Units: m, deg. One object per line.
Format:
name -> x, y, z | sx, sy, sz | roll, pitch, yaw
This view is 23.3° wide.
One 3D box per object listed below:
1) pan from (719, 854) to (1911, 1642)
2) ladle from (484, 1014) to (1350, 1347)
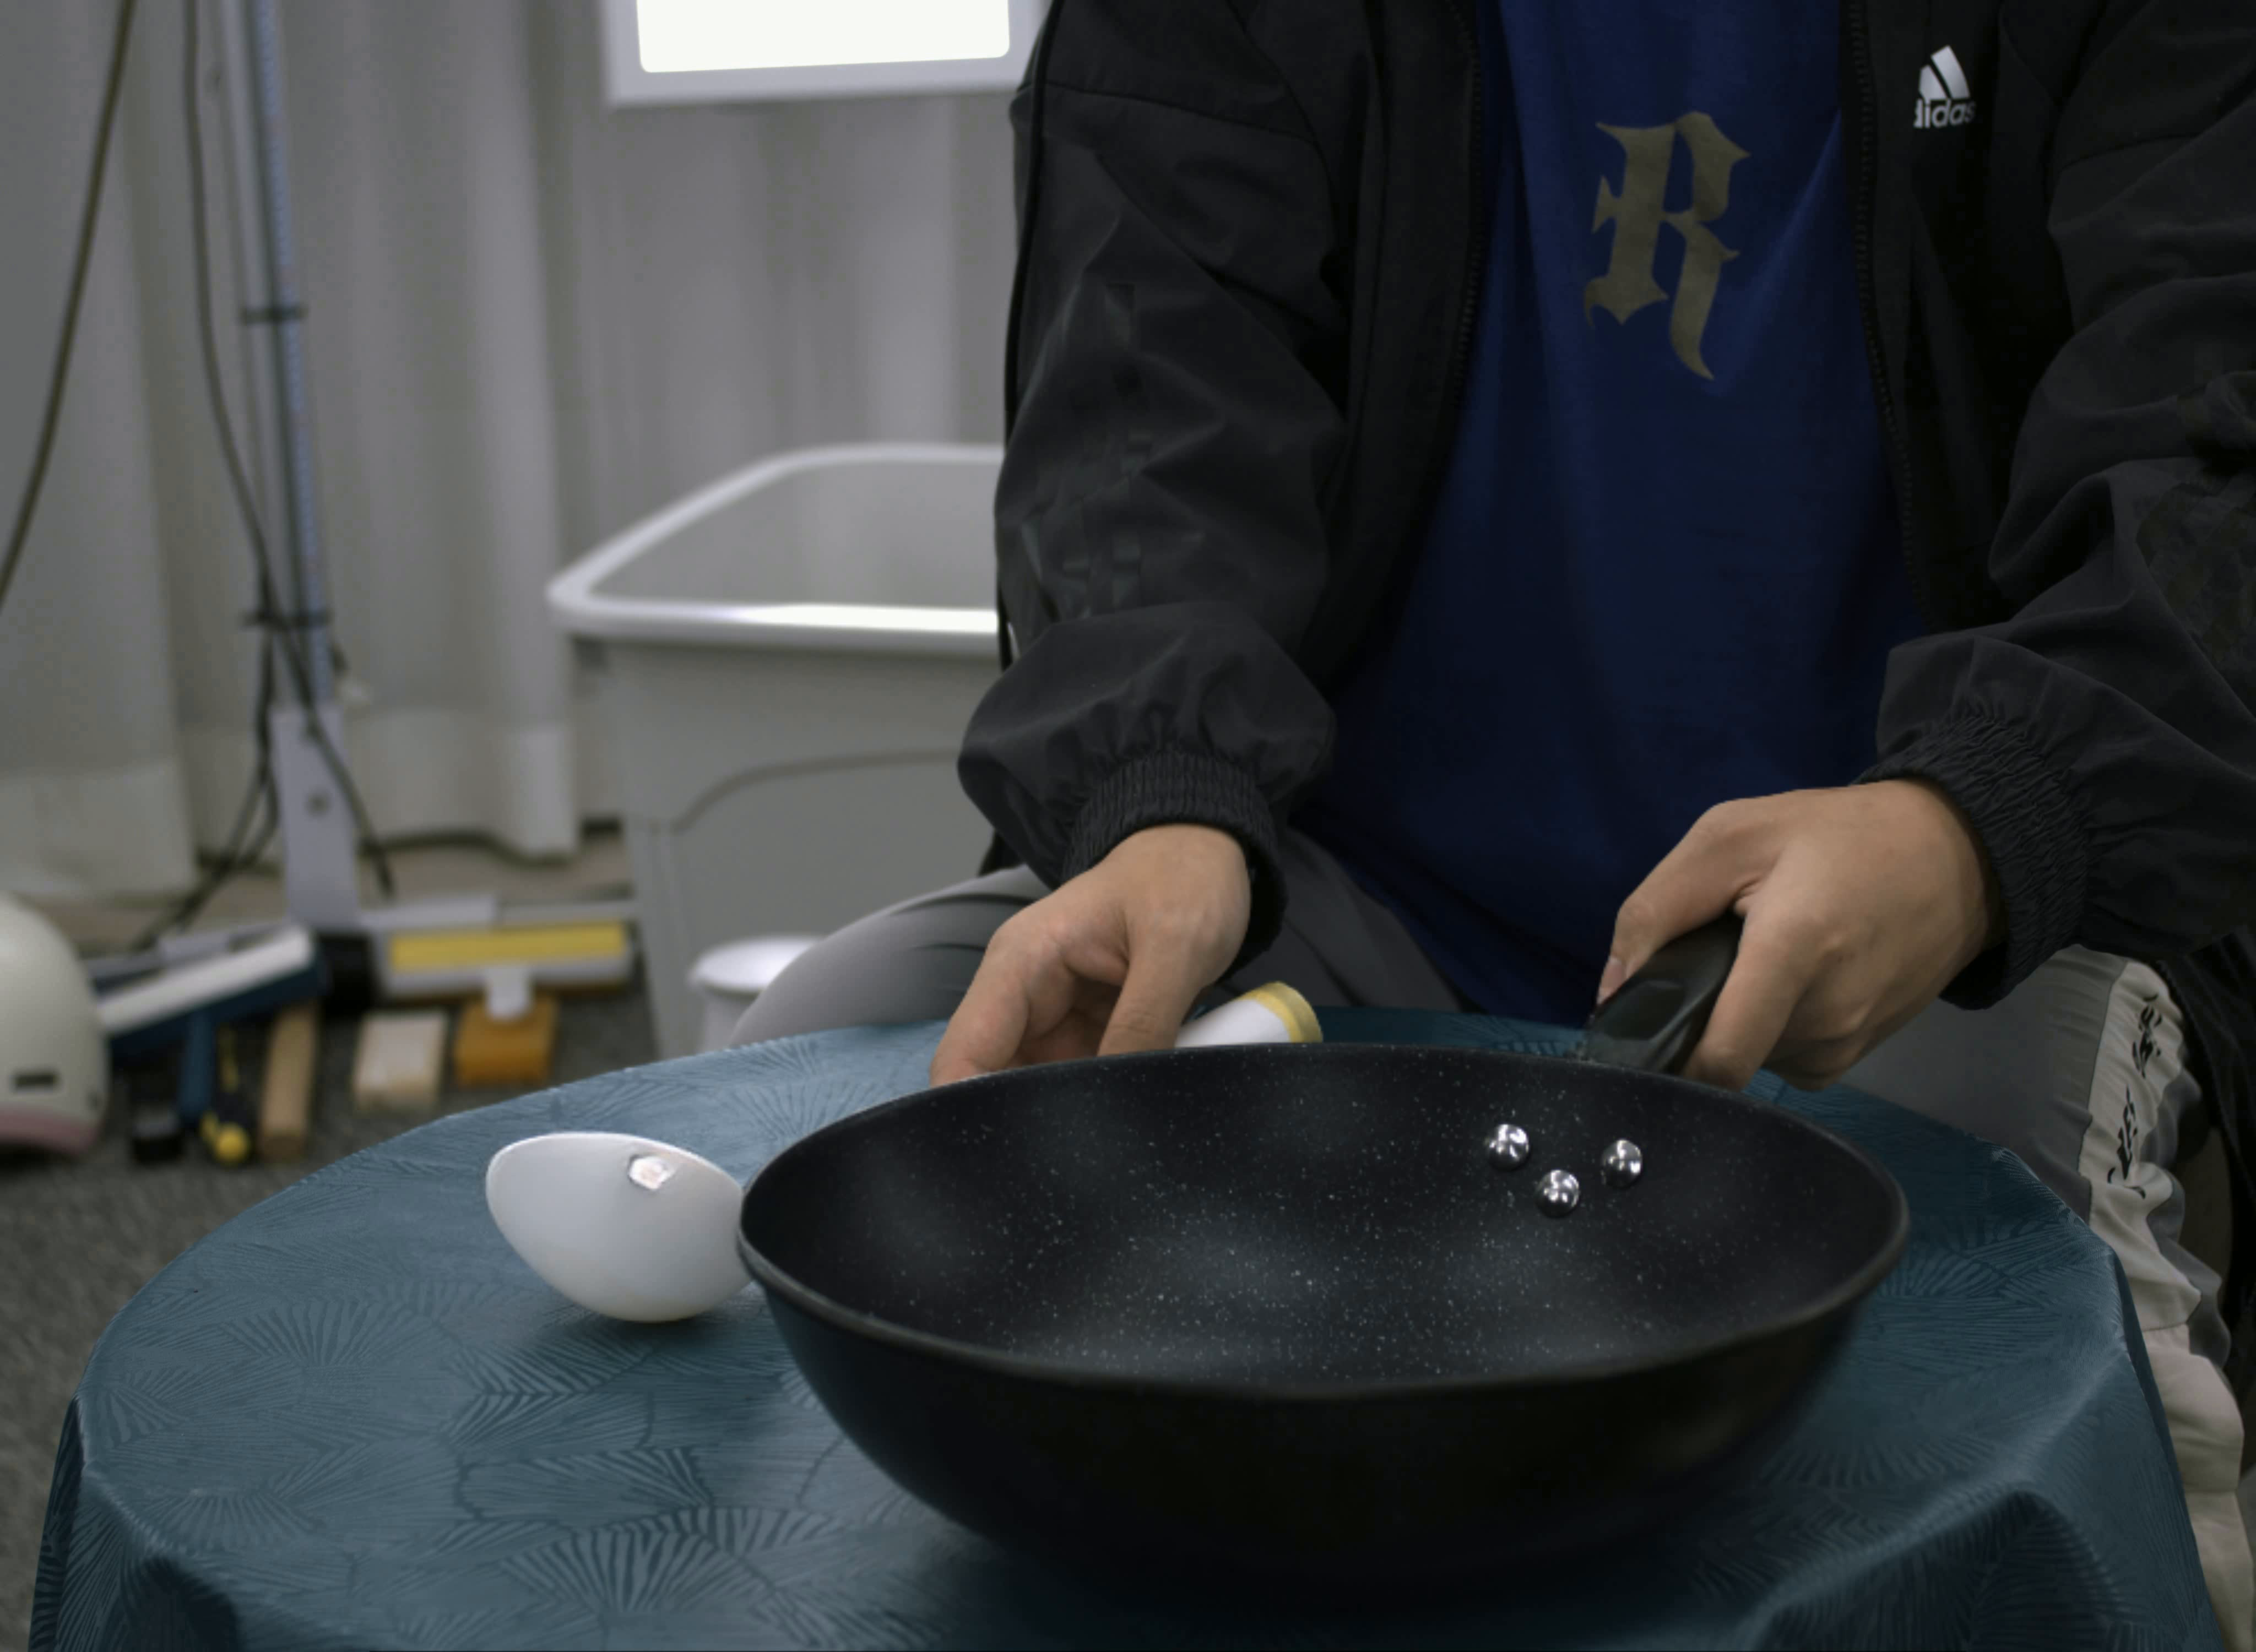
pan -> 0.091, 0.113, 1.499 | 0.311, 0.111, 0.477 | 9, 17, 30
ladle -> -0.058, 0.096, 1.678 | 0.292, 0.070, 0.089 | -18, -20, -36
